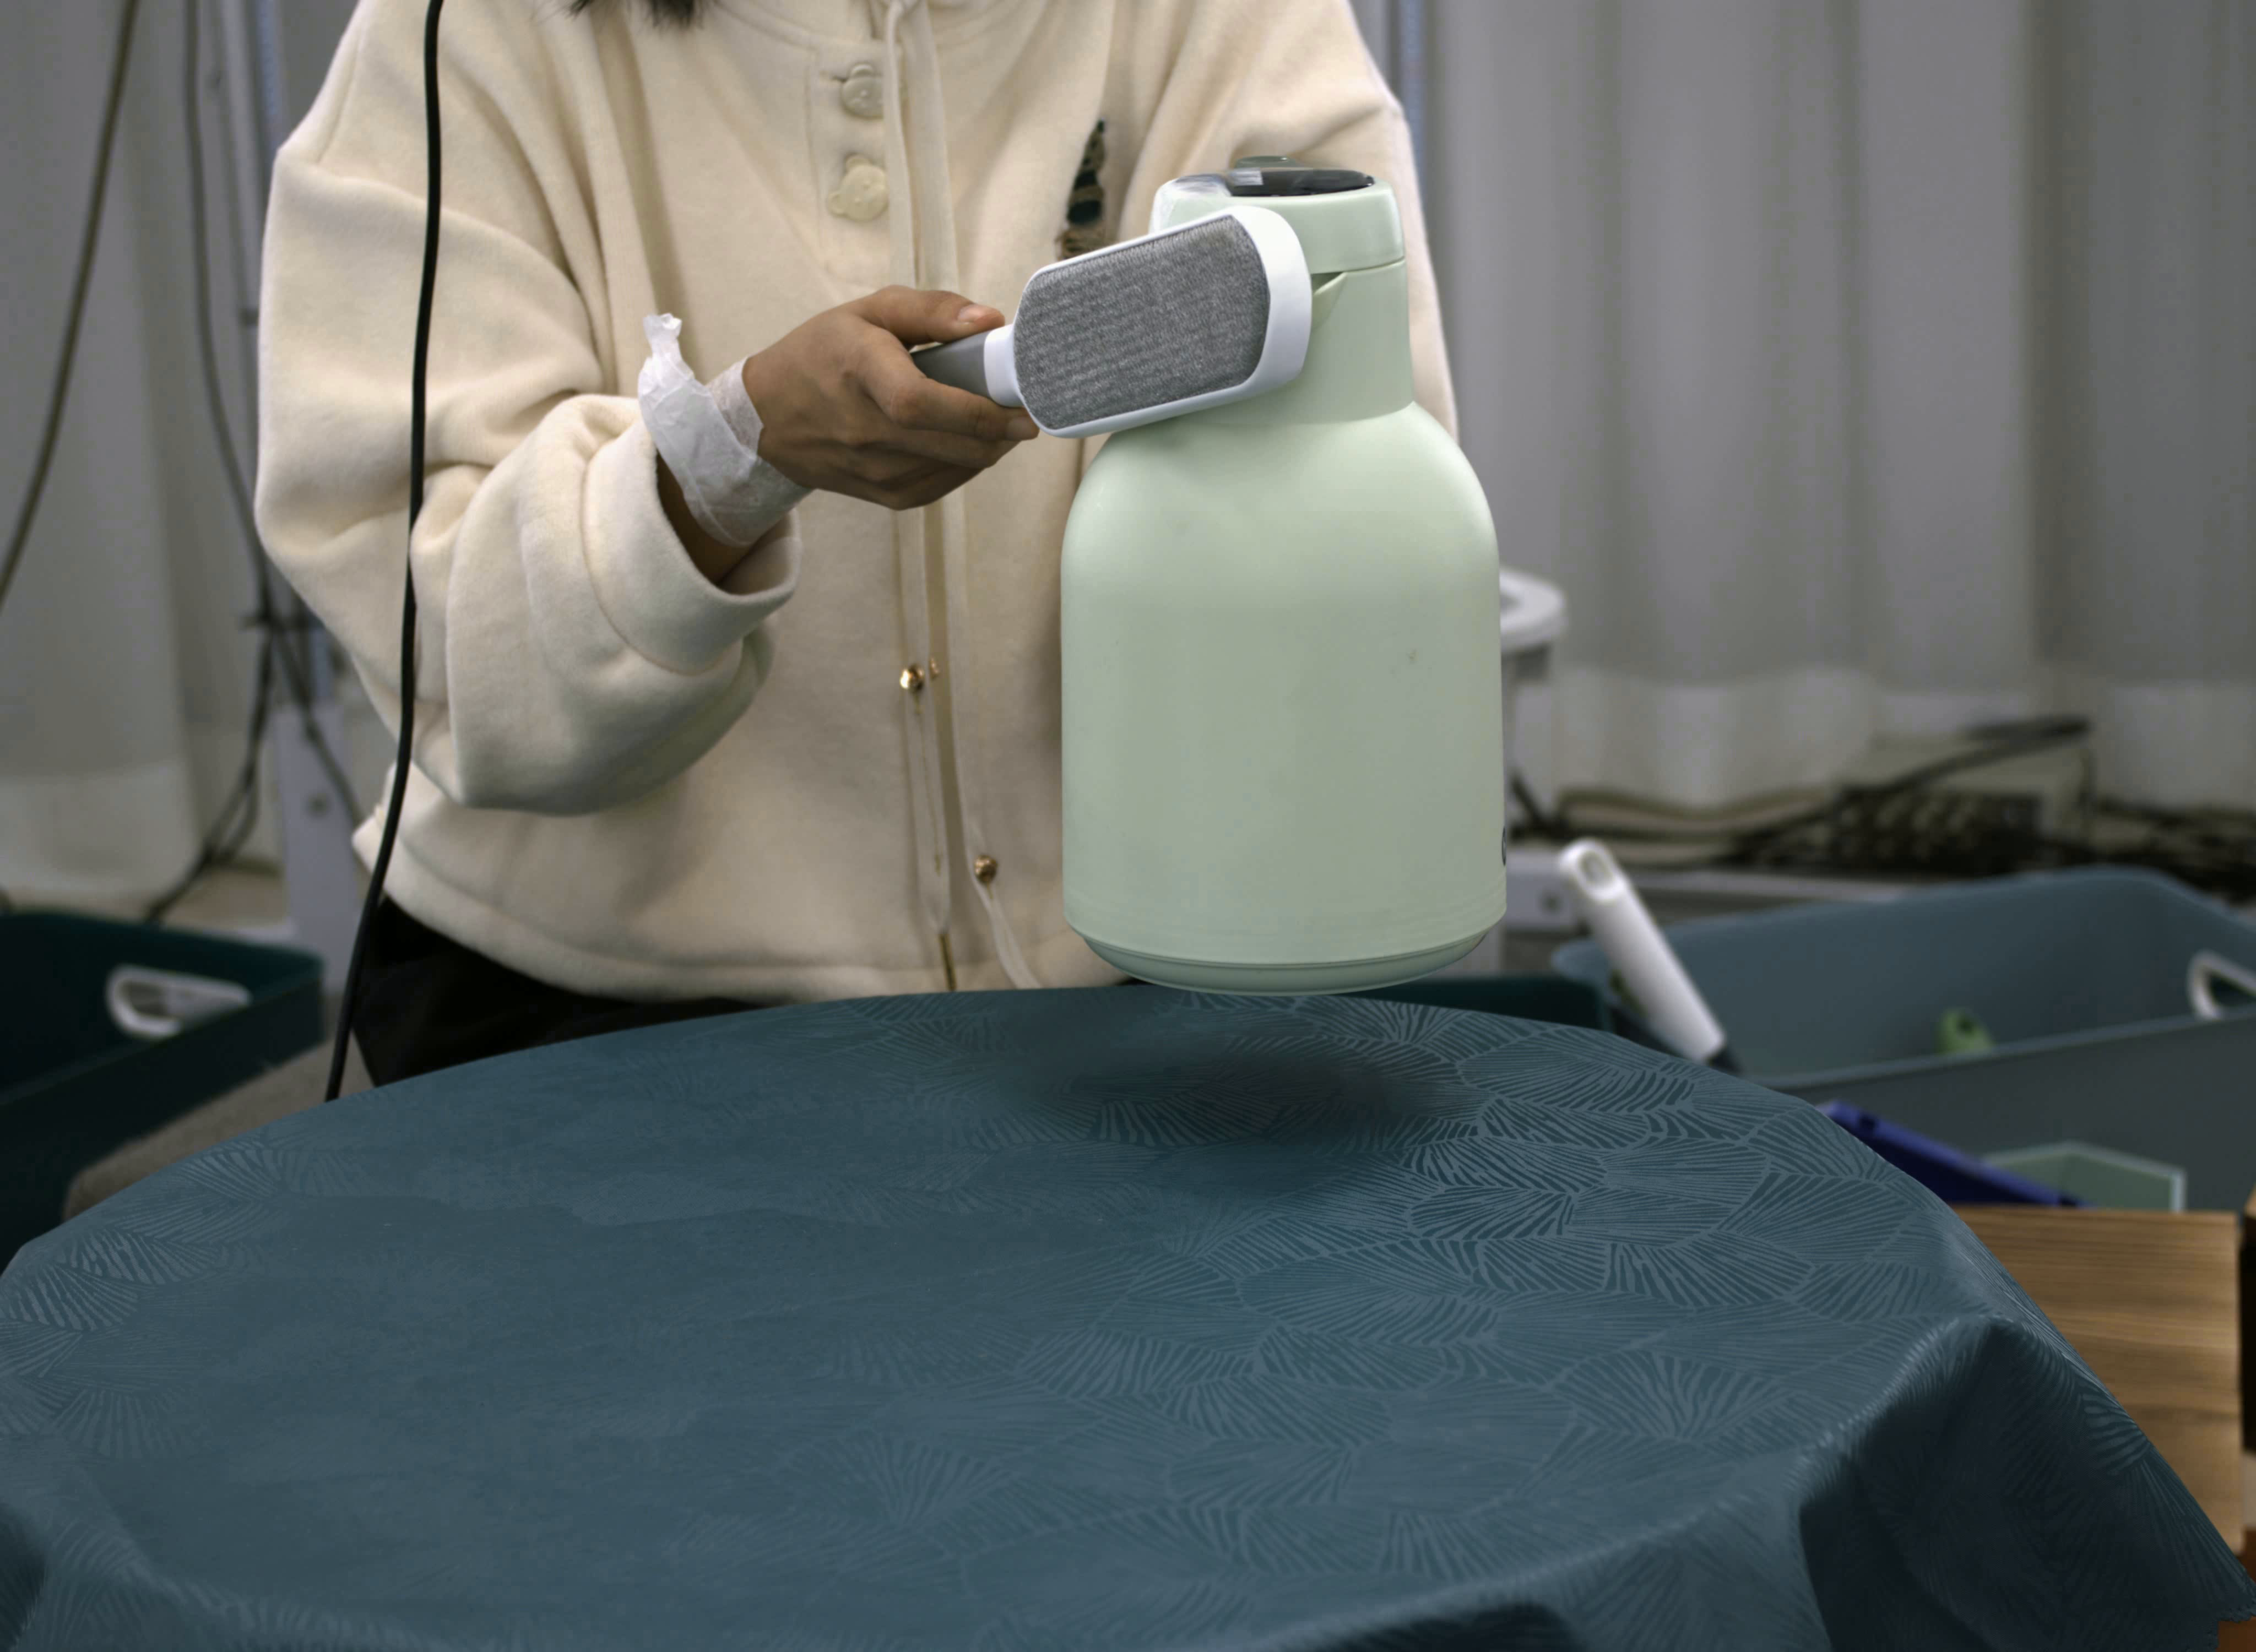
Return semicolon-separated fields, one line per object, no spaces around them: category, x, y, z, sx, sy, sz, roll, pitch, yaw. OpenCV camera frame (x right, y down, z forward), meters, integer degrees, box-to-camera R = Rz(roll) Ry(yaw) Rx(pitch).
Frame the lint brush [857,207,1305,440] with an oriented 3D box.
lint brush;-0.020;-0.154;1.760;0.021;0.060;0.309;-6;0;-26

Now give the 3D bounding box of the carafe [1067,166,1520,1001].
carafe;0.050;-0.083;1.775;0.144;0.256;0.187;-3;9;-1
